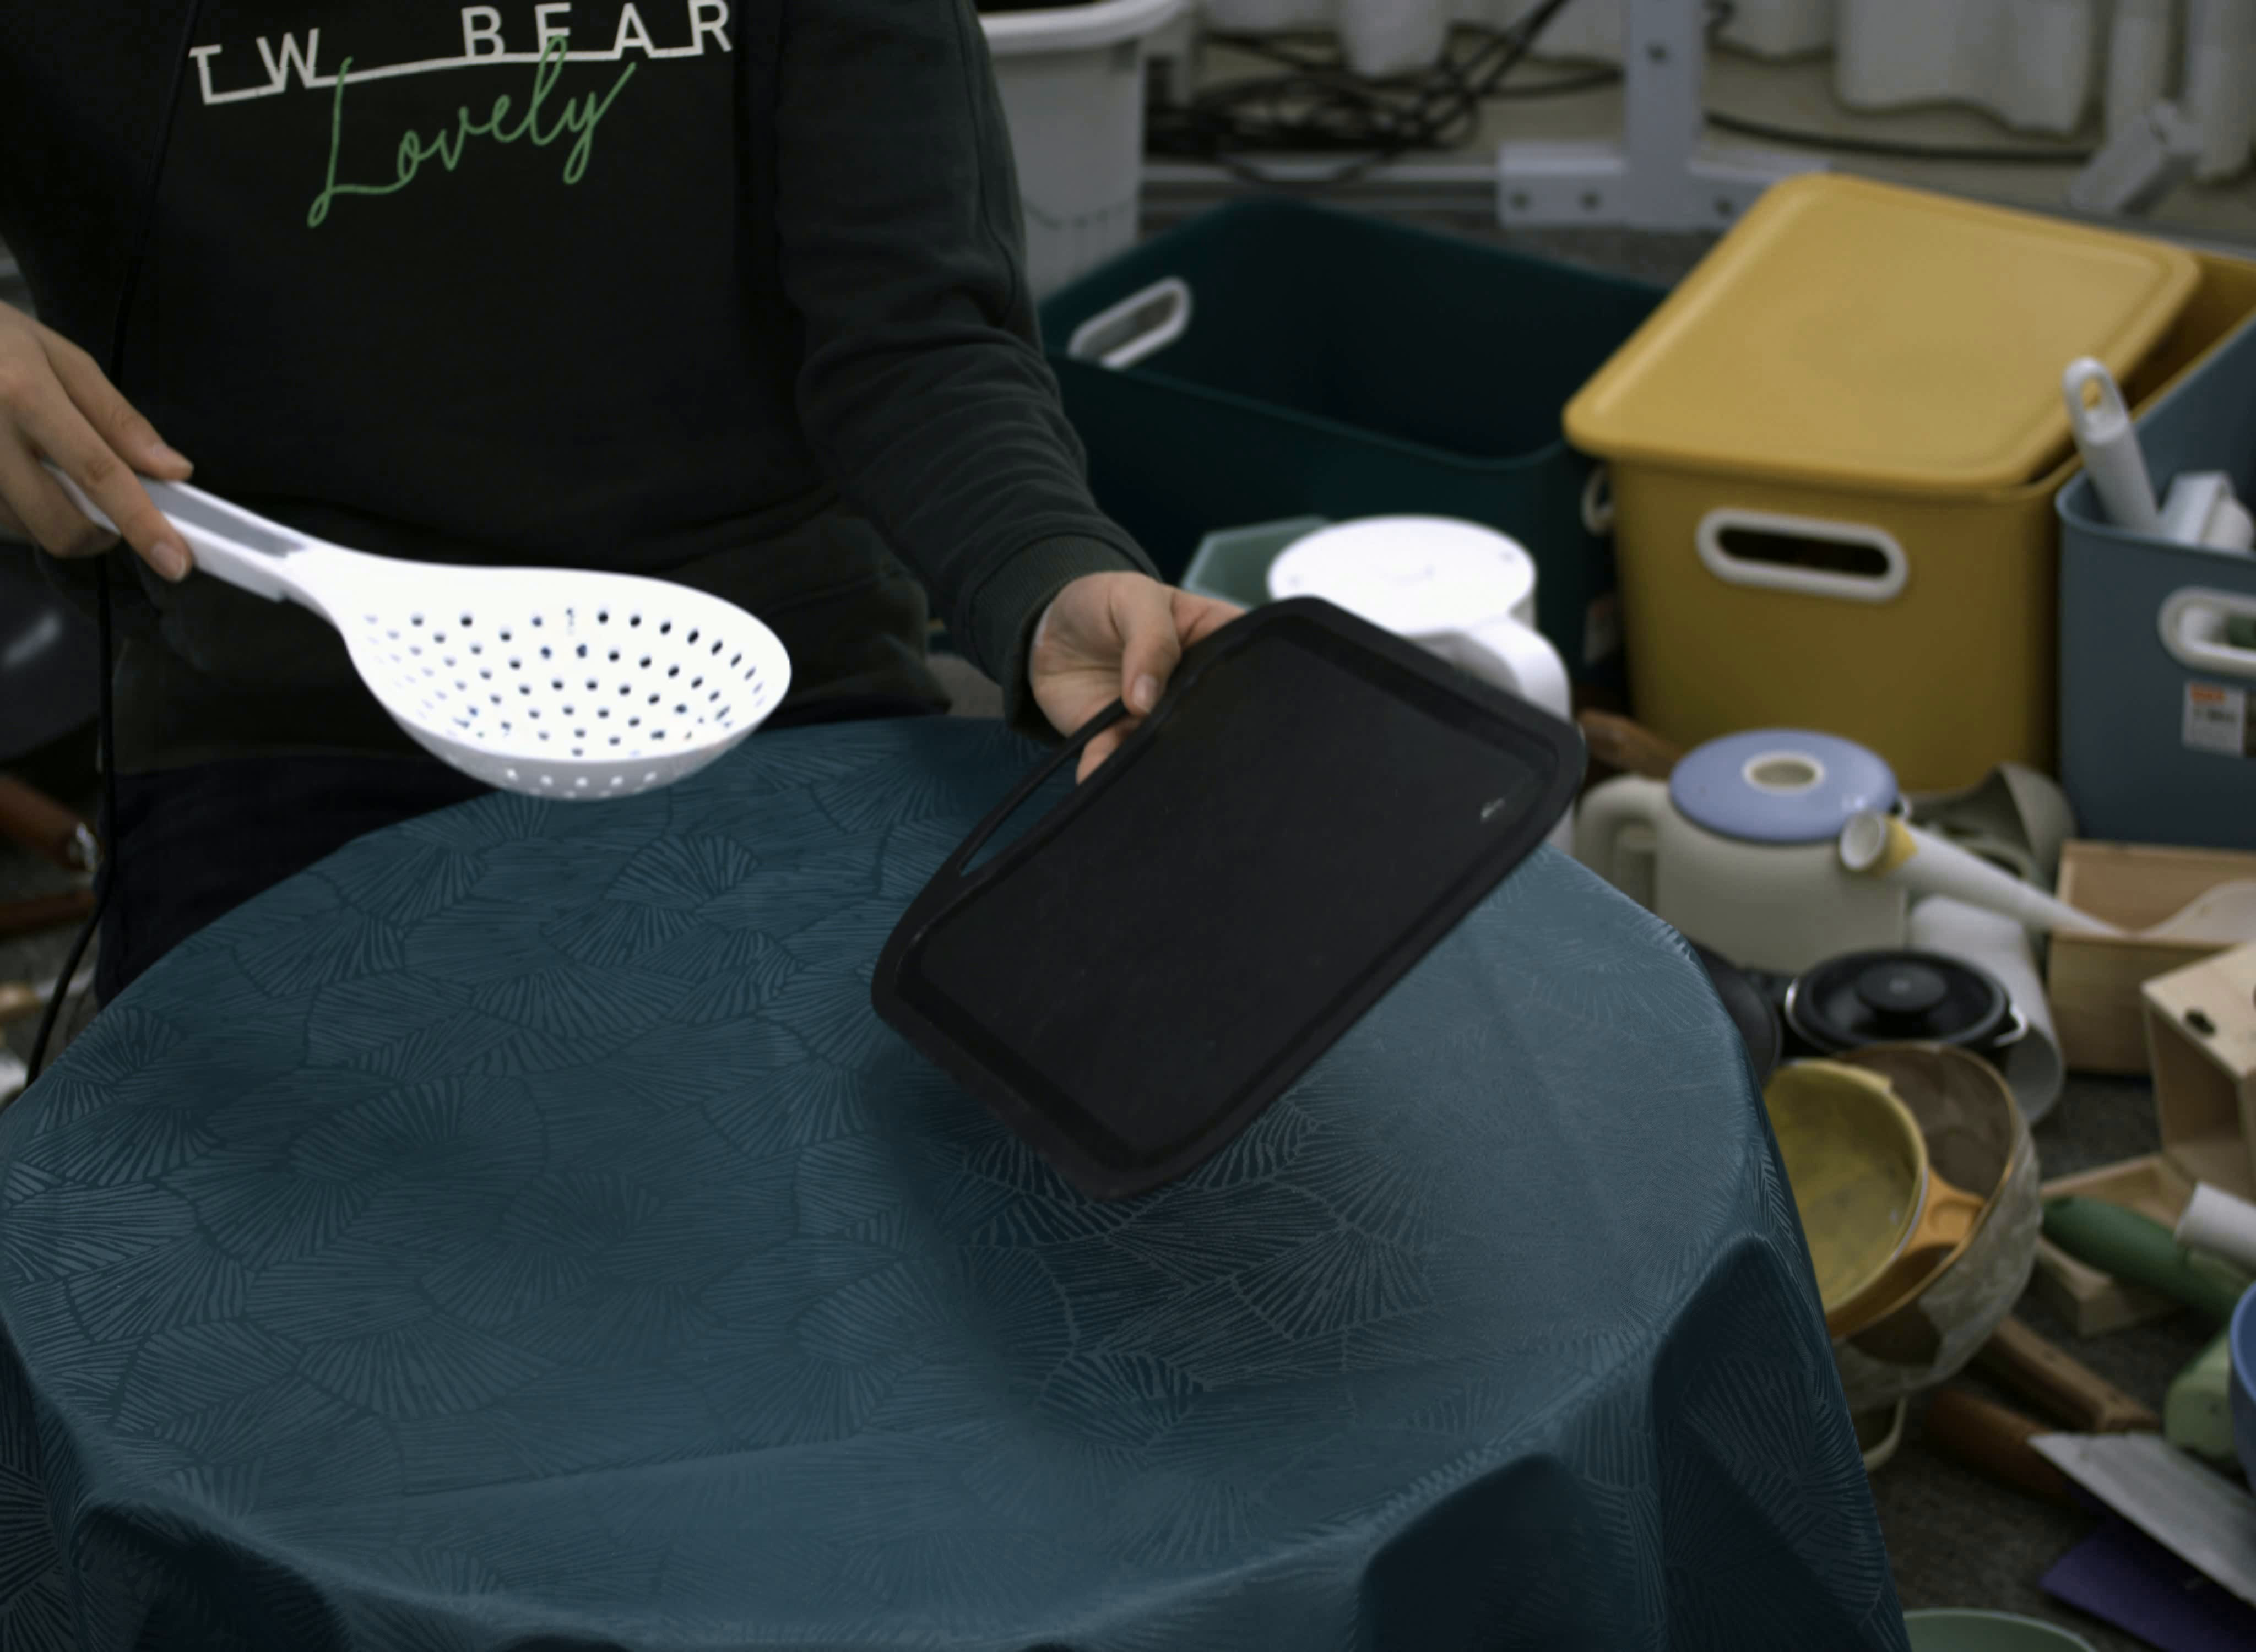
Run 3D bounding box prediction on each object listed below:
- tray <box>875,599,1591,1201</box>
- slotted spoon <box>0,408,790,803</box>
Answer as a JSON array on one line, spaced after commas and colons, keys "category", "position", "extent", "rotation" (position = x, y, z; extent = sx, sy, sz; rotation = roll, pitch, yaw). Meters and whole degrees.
[{"category": "tray", "position": [0.023, 0.016, 1.826], "extent": [0.212, 0.010, 0.326], "rotation": [-42, 22, -6]}, {"category": "slotted spoon", "position": [-0.262, -0.079, 1.858], "extent": [0.349, 0.045, 0.138], "rotation": [26, 32, 28]}]
